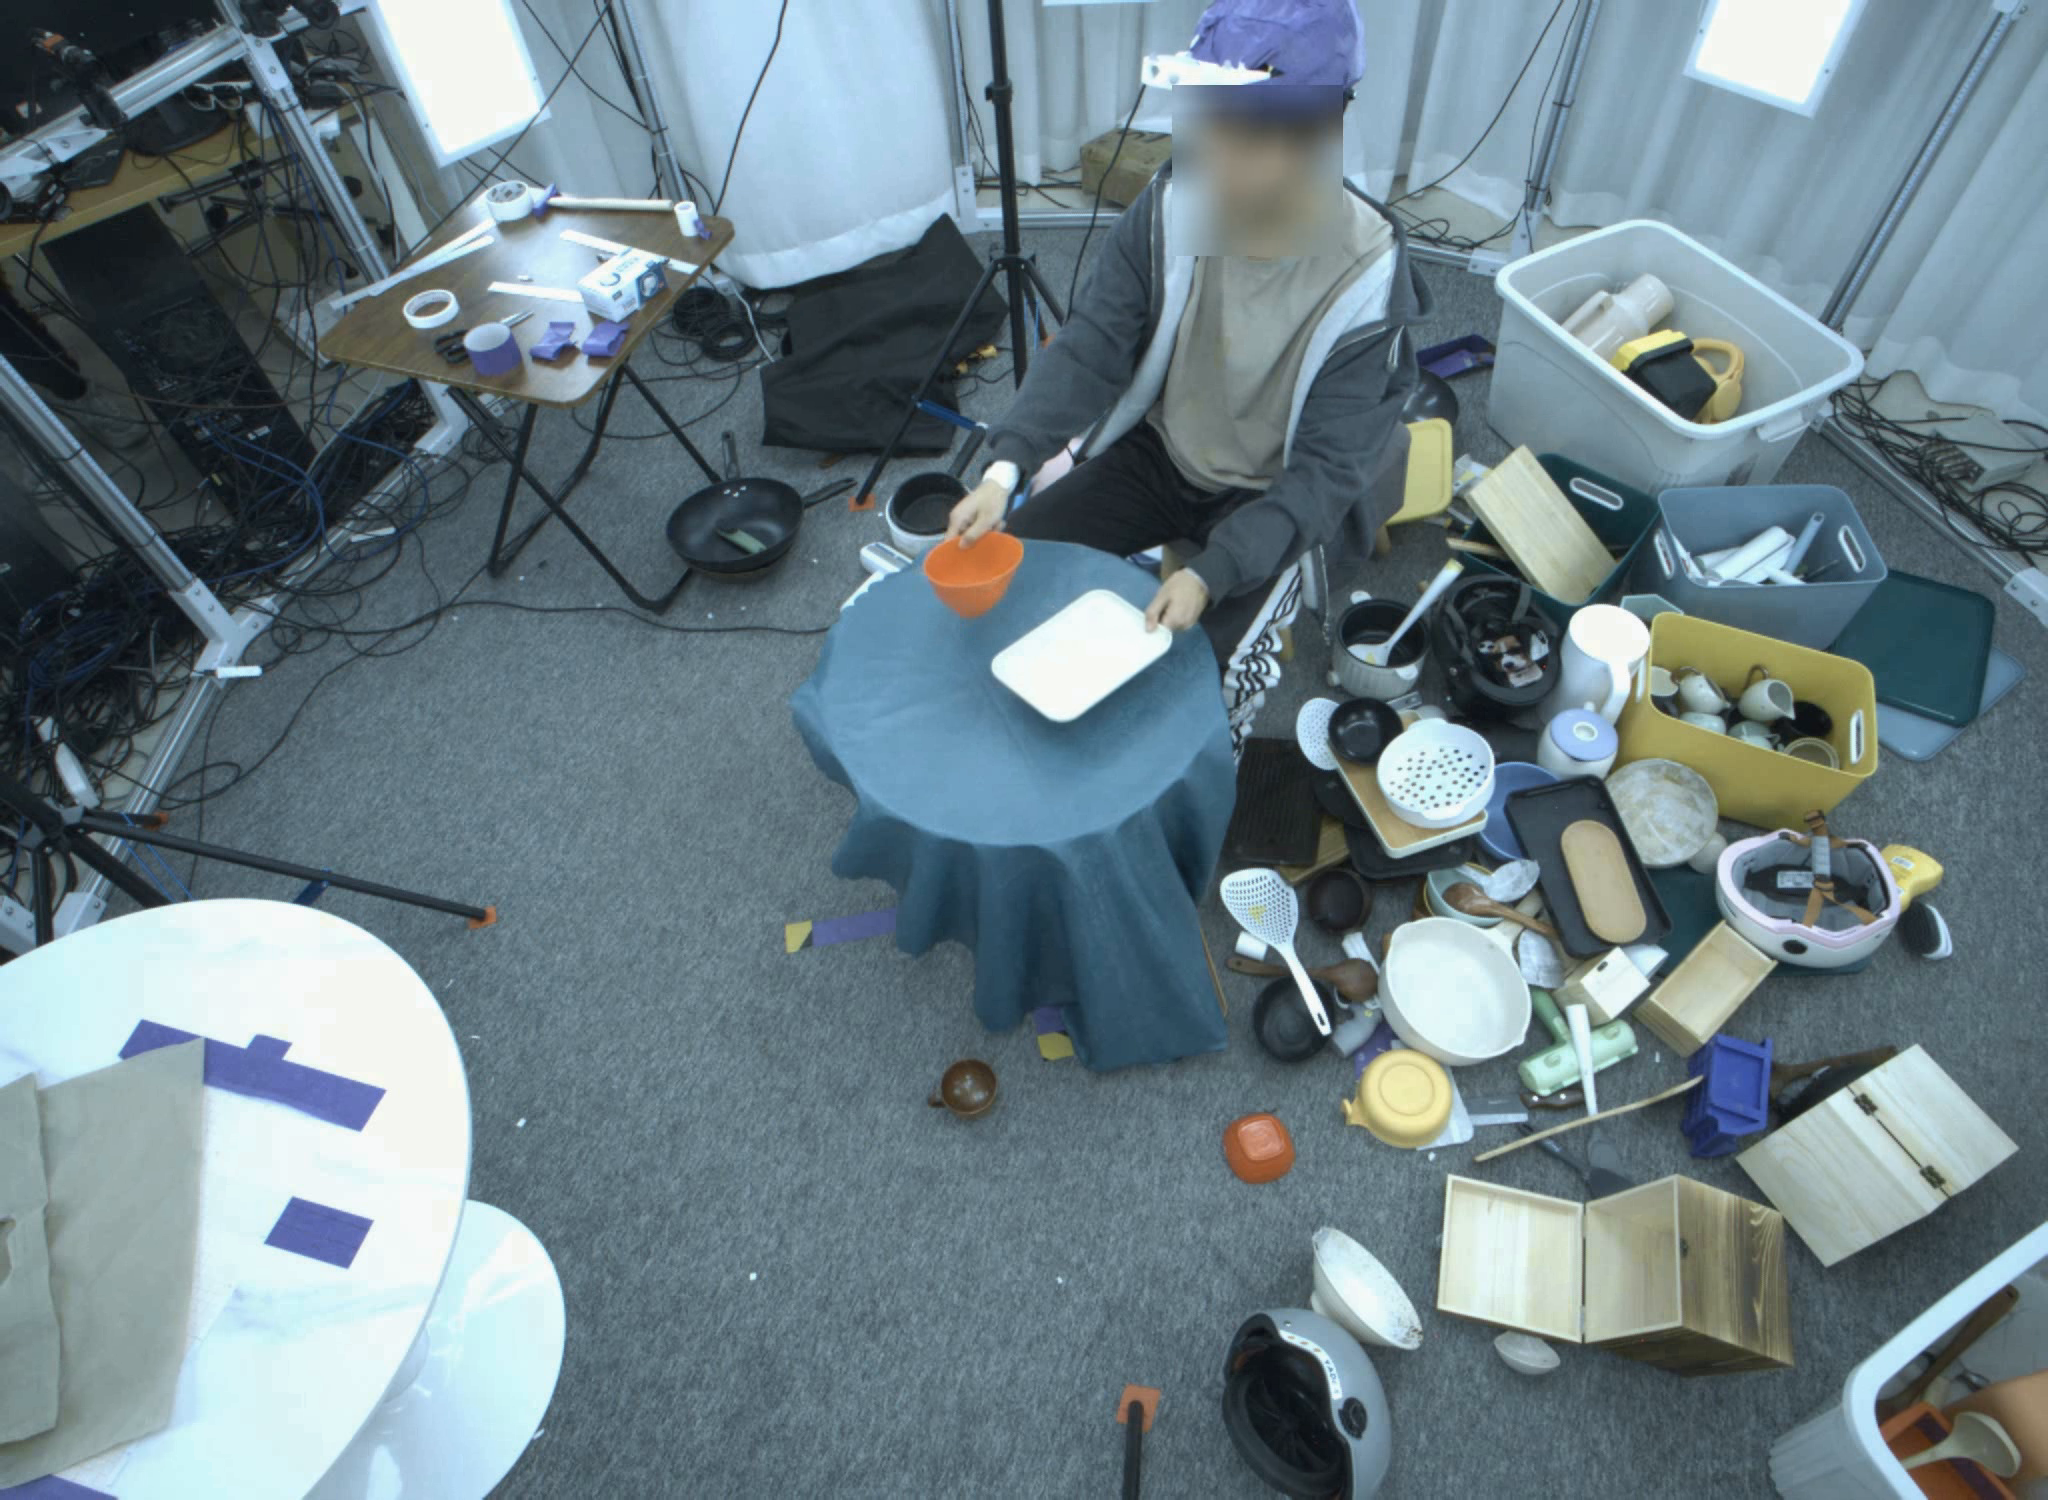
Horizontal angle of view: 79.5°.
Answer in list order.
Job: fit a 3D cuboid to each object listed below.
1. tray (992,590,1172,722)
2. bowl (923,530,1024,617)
[{"bbox_3d":[0.085,-0.139,1.800,0.241,0.018,0.168,-37,57,-23],"label":"tray"},{"bbox_3d":[-0.074,-0.251,1.808,0.148,0.106,0.146,1,48,1],"label":"bowl"}]
